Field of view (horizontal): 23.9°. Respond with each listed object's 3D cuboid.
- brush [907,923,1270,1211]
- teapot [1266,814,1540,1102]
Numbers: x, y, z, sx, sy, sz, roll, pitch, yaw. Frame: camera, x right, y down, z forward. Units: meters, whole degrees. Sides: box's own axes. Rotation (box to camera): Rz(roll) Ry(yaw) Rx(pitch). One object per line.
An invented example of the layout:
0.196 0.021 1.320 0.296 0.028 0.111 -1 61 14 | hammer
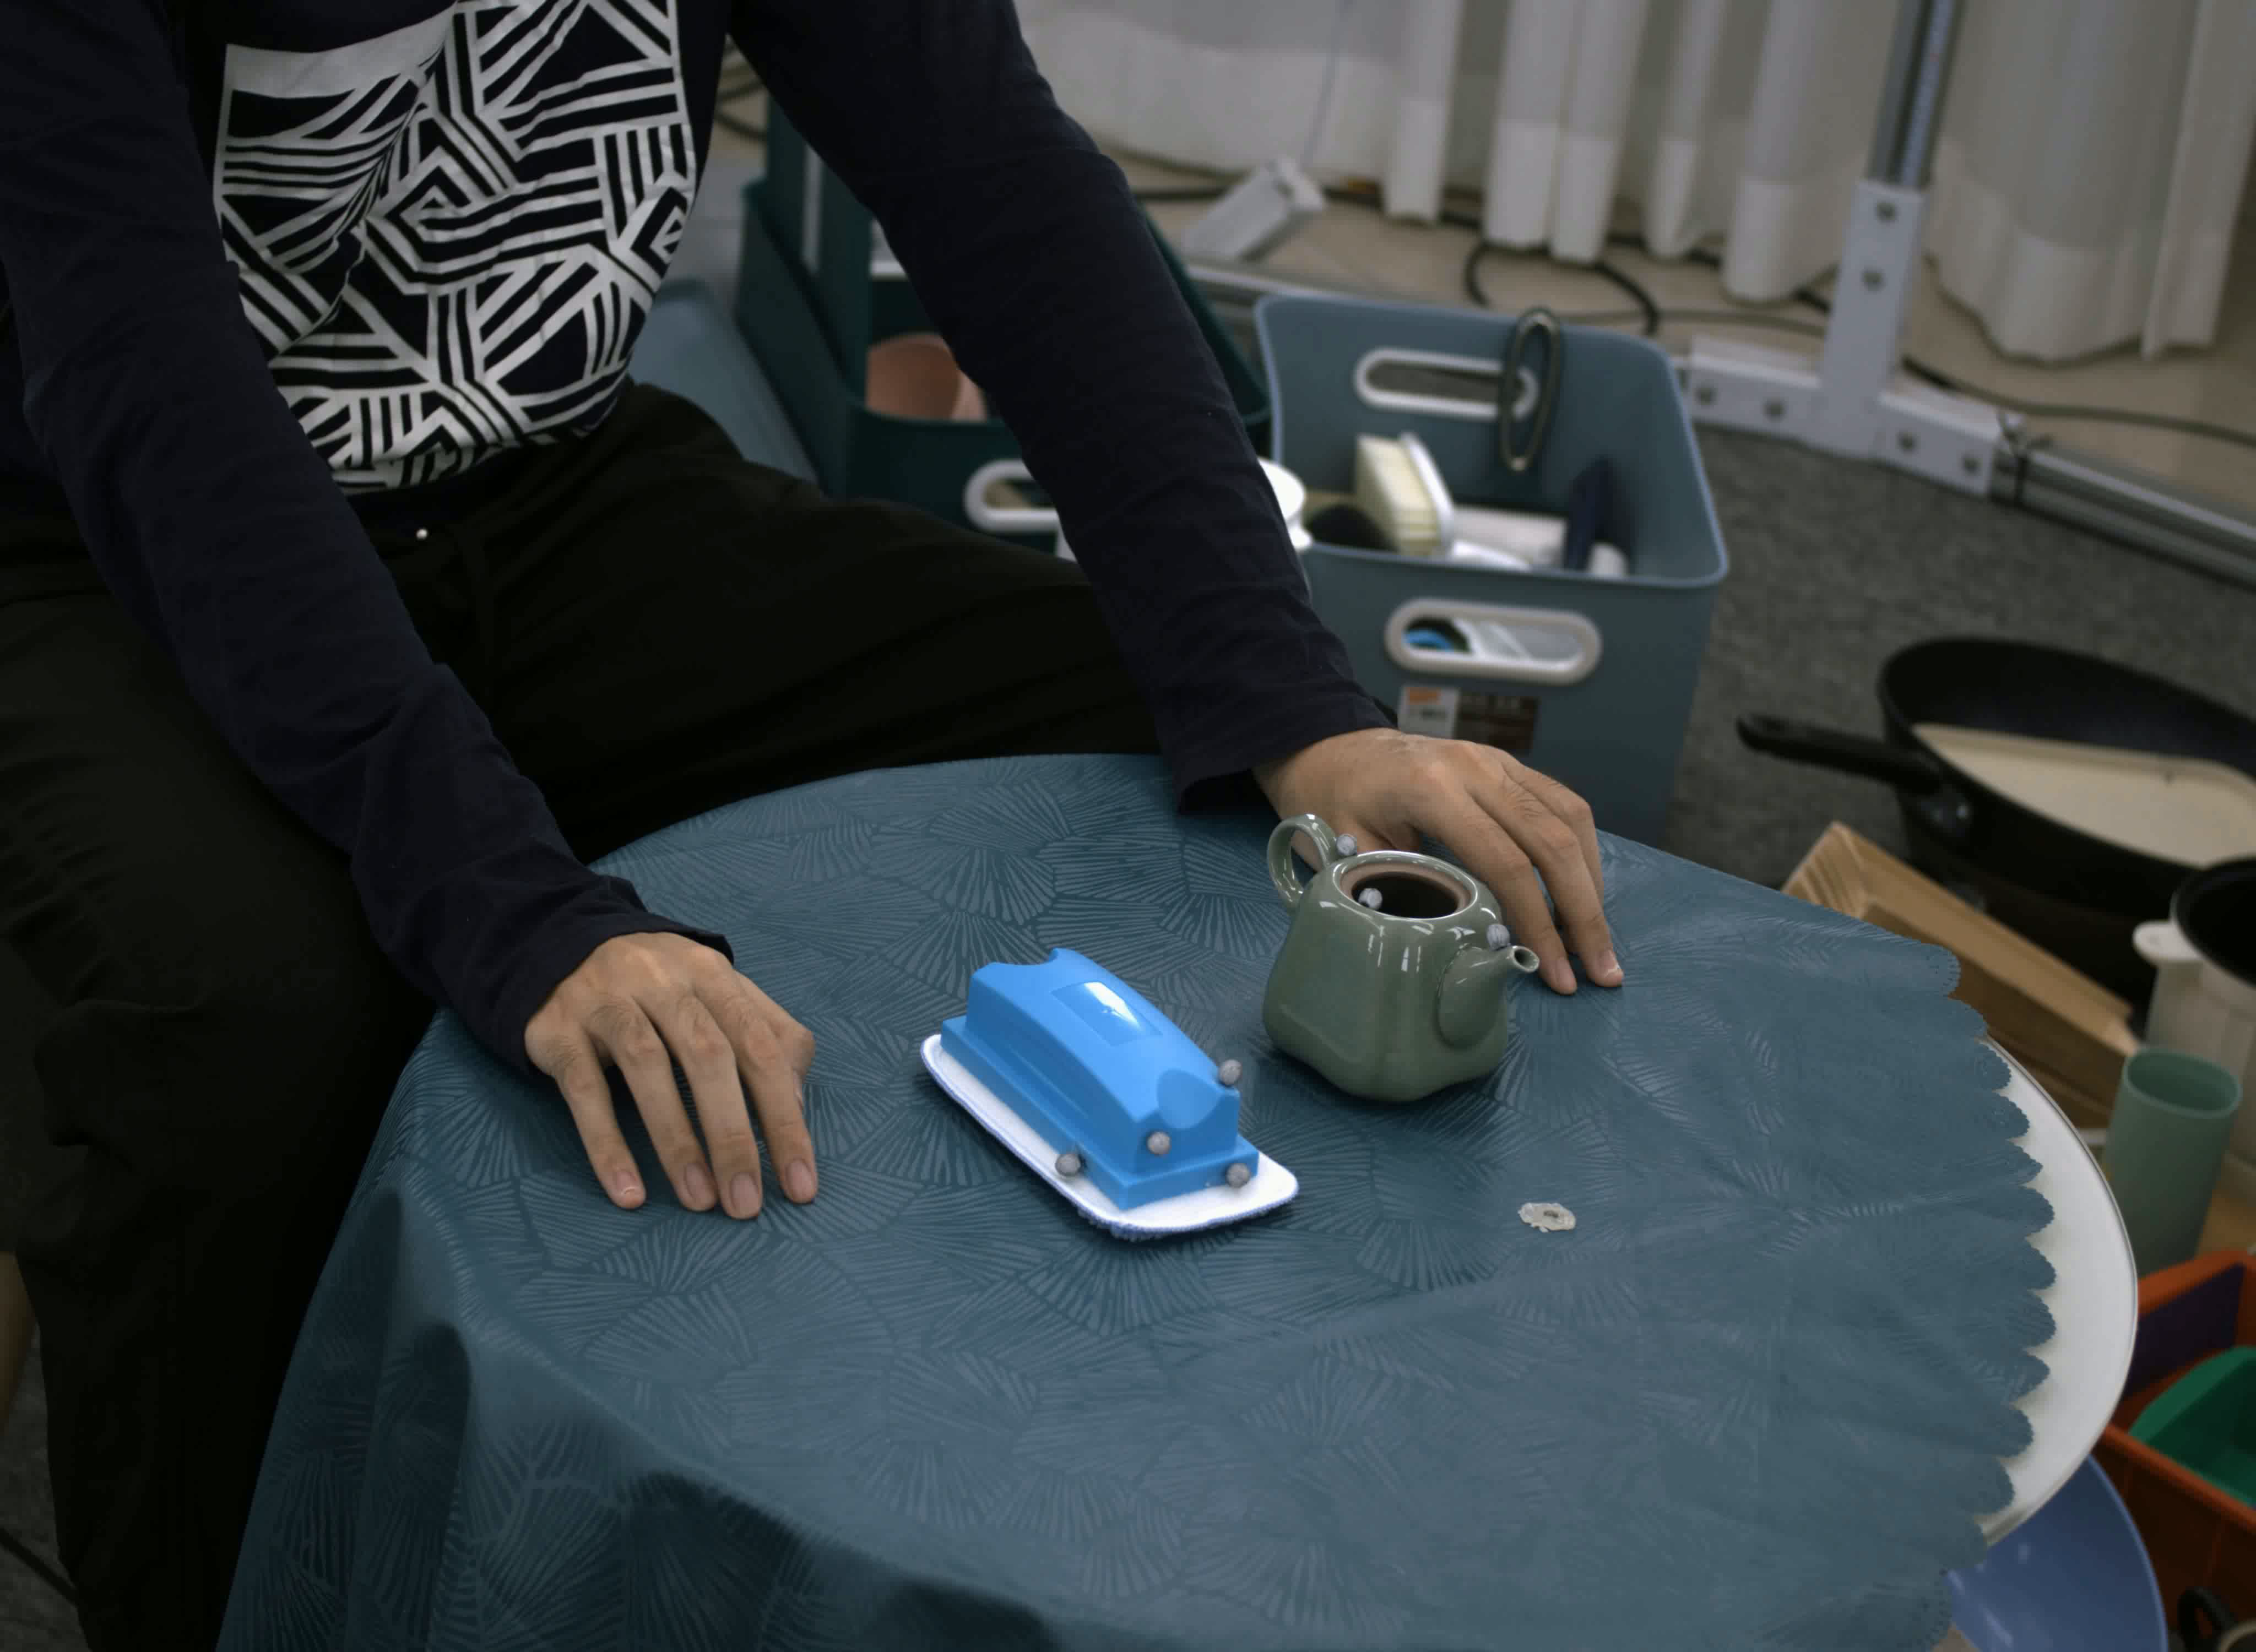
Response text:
-0.011 0.078 1.826 0.083 0.056 0.145 -6 33 -31 | brush
0.095 0.050 1.891 0.079 0.075 0.133 -16 33 -37 | teapot
